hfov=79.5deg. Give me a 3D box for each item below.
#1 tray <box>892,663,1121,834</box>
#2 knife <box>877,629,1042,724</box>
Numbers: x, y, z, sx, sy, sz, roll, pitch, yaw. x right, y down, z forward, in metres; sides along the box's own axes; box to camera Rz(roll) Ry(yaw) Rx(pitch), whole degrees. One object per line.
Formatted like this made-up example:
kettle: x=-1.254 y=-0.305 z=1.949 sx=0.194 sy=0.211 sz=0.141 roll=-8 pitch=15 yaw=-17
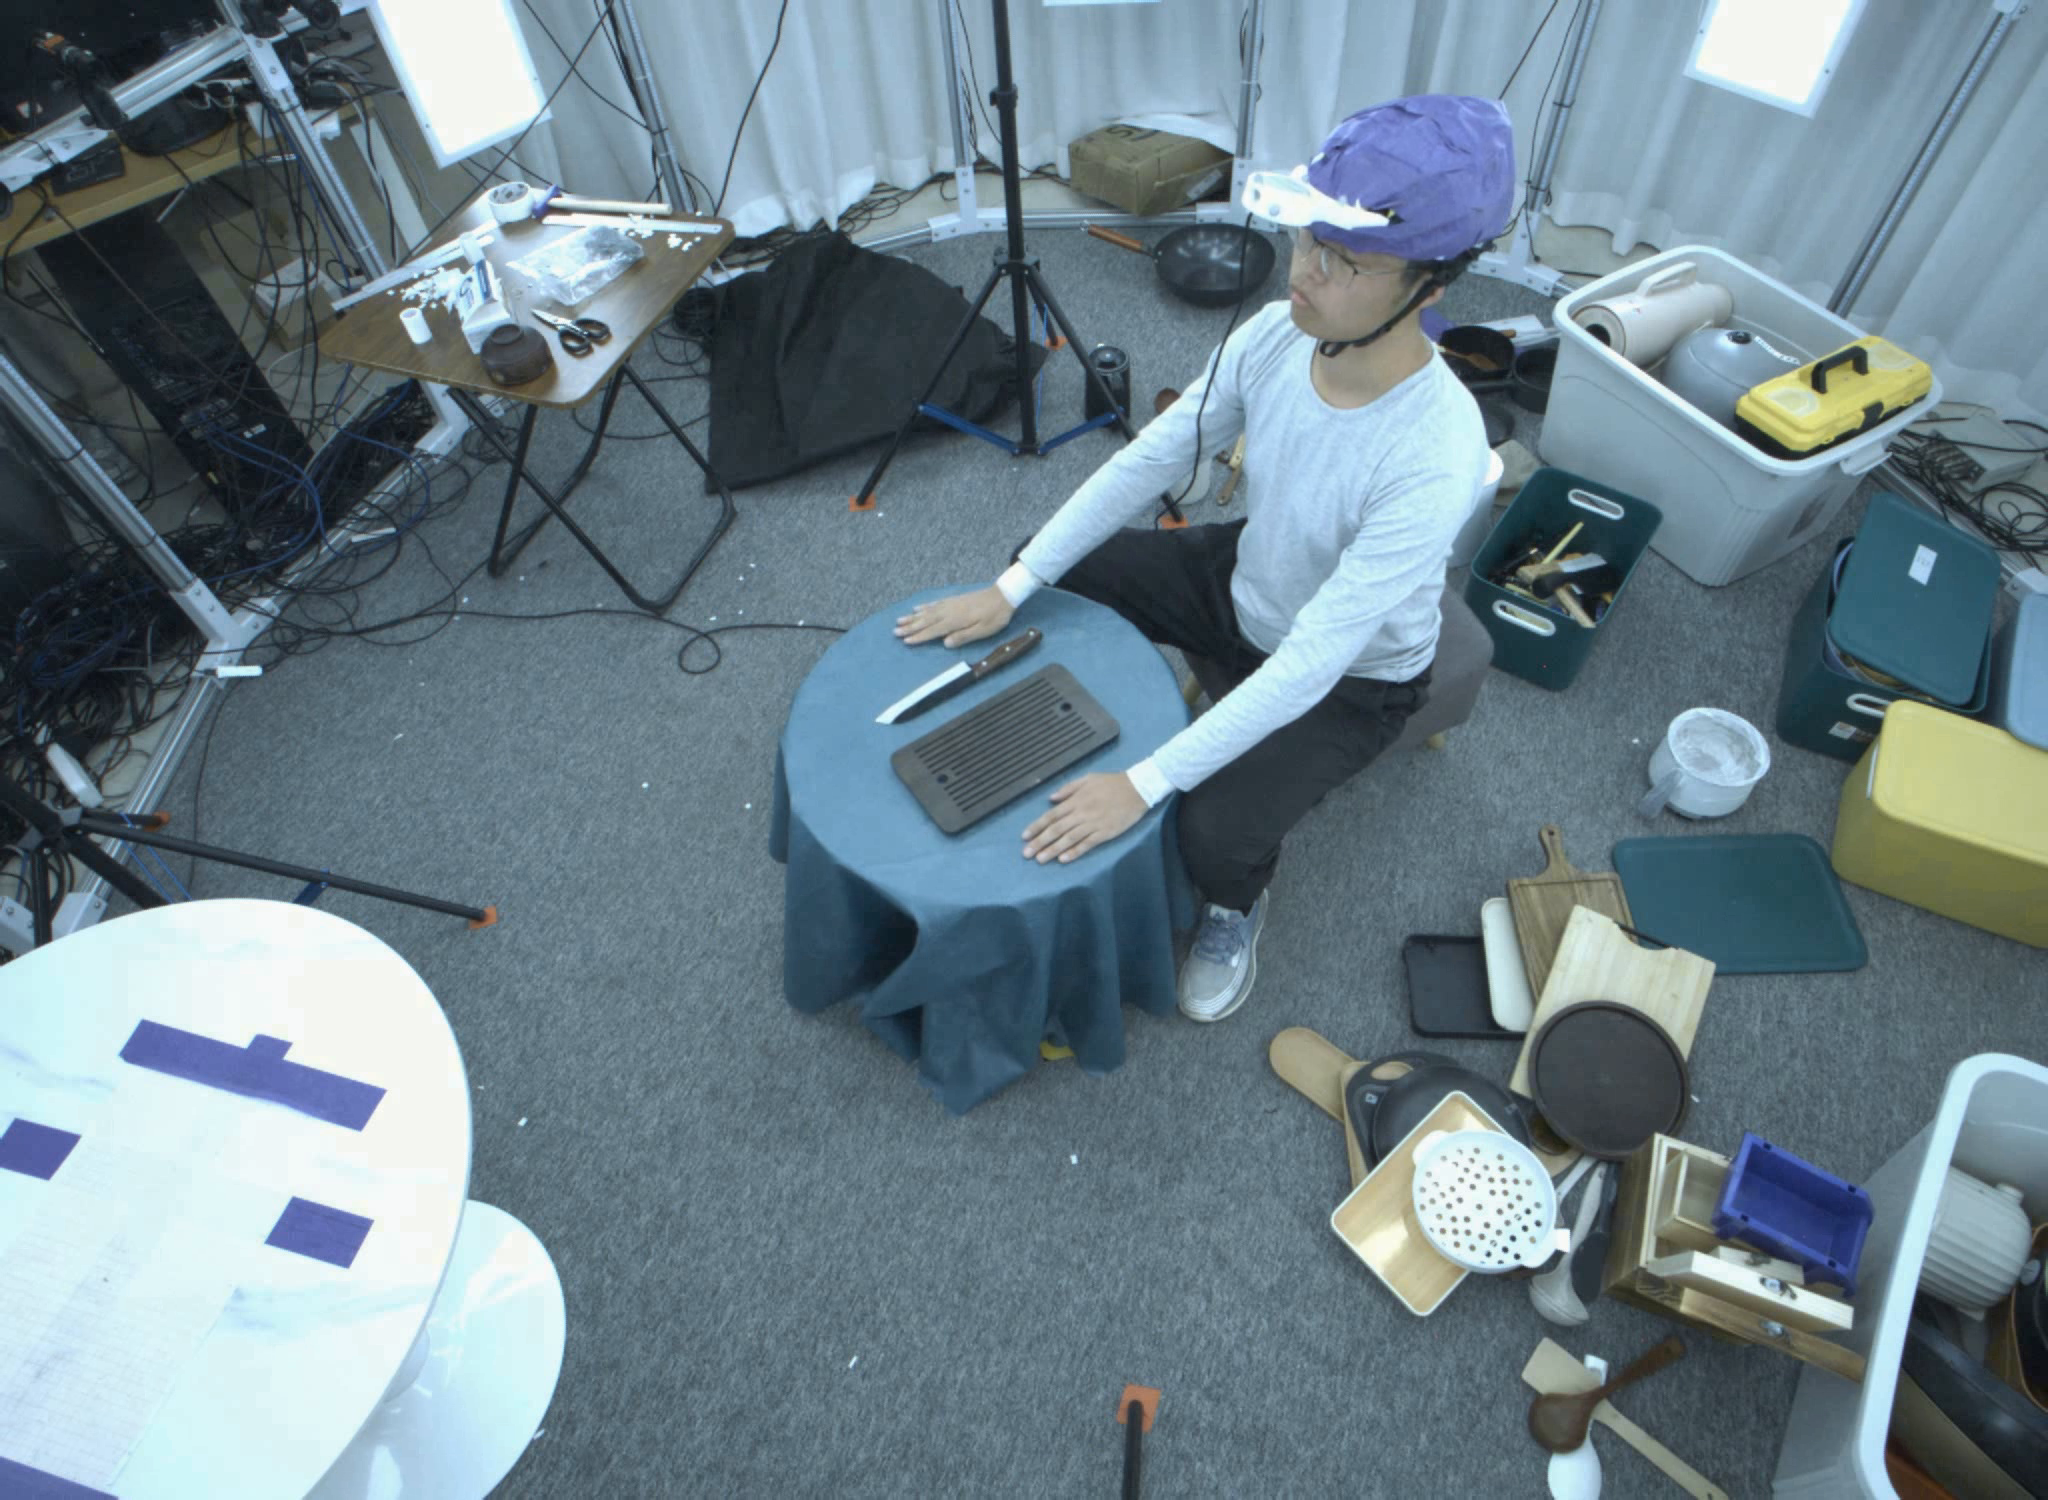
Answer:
tray: x=-0.025 y=-0.005 z=1.789 sx=0.308 sy=0.019 sz=0.167 roll=-30 pitch=59 yaw=-19
knife: x=-0.098 y=-0.111 z=1.868 sx=0.291 sy=0.020 sz=0.049 roll=-30 pitch=54 yaw=-16
